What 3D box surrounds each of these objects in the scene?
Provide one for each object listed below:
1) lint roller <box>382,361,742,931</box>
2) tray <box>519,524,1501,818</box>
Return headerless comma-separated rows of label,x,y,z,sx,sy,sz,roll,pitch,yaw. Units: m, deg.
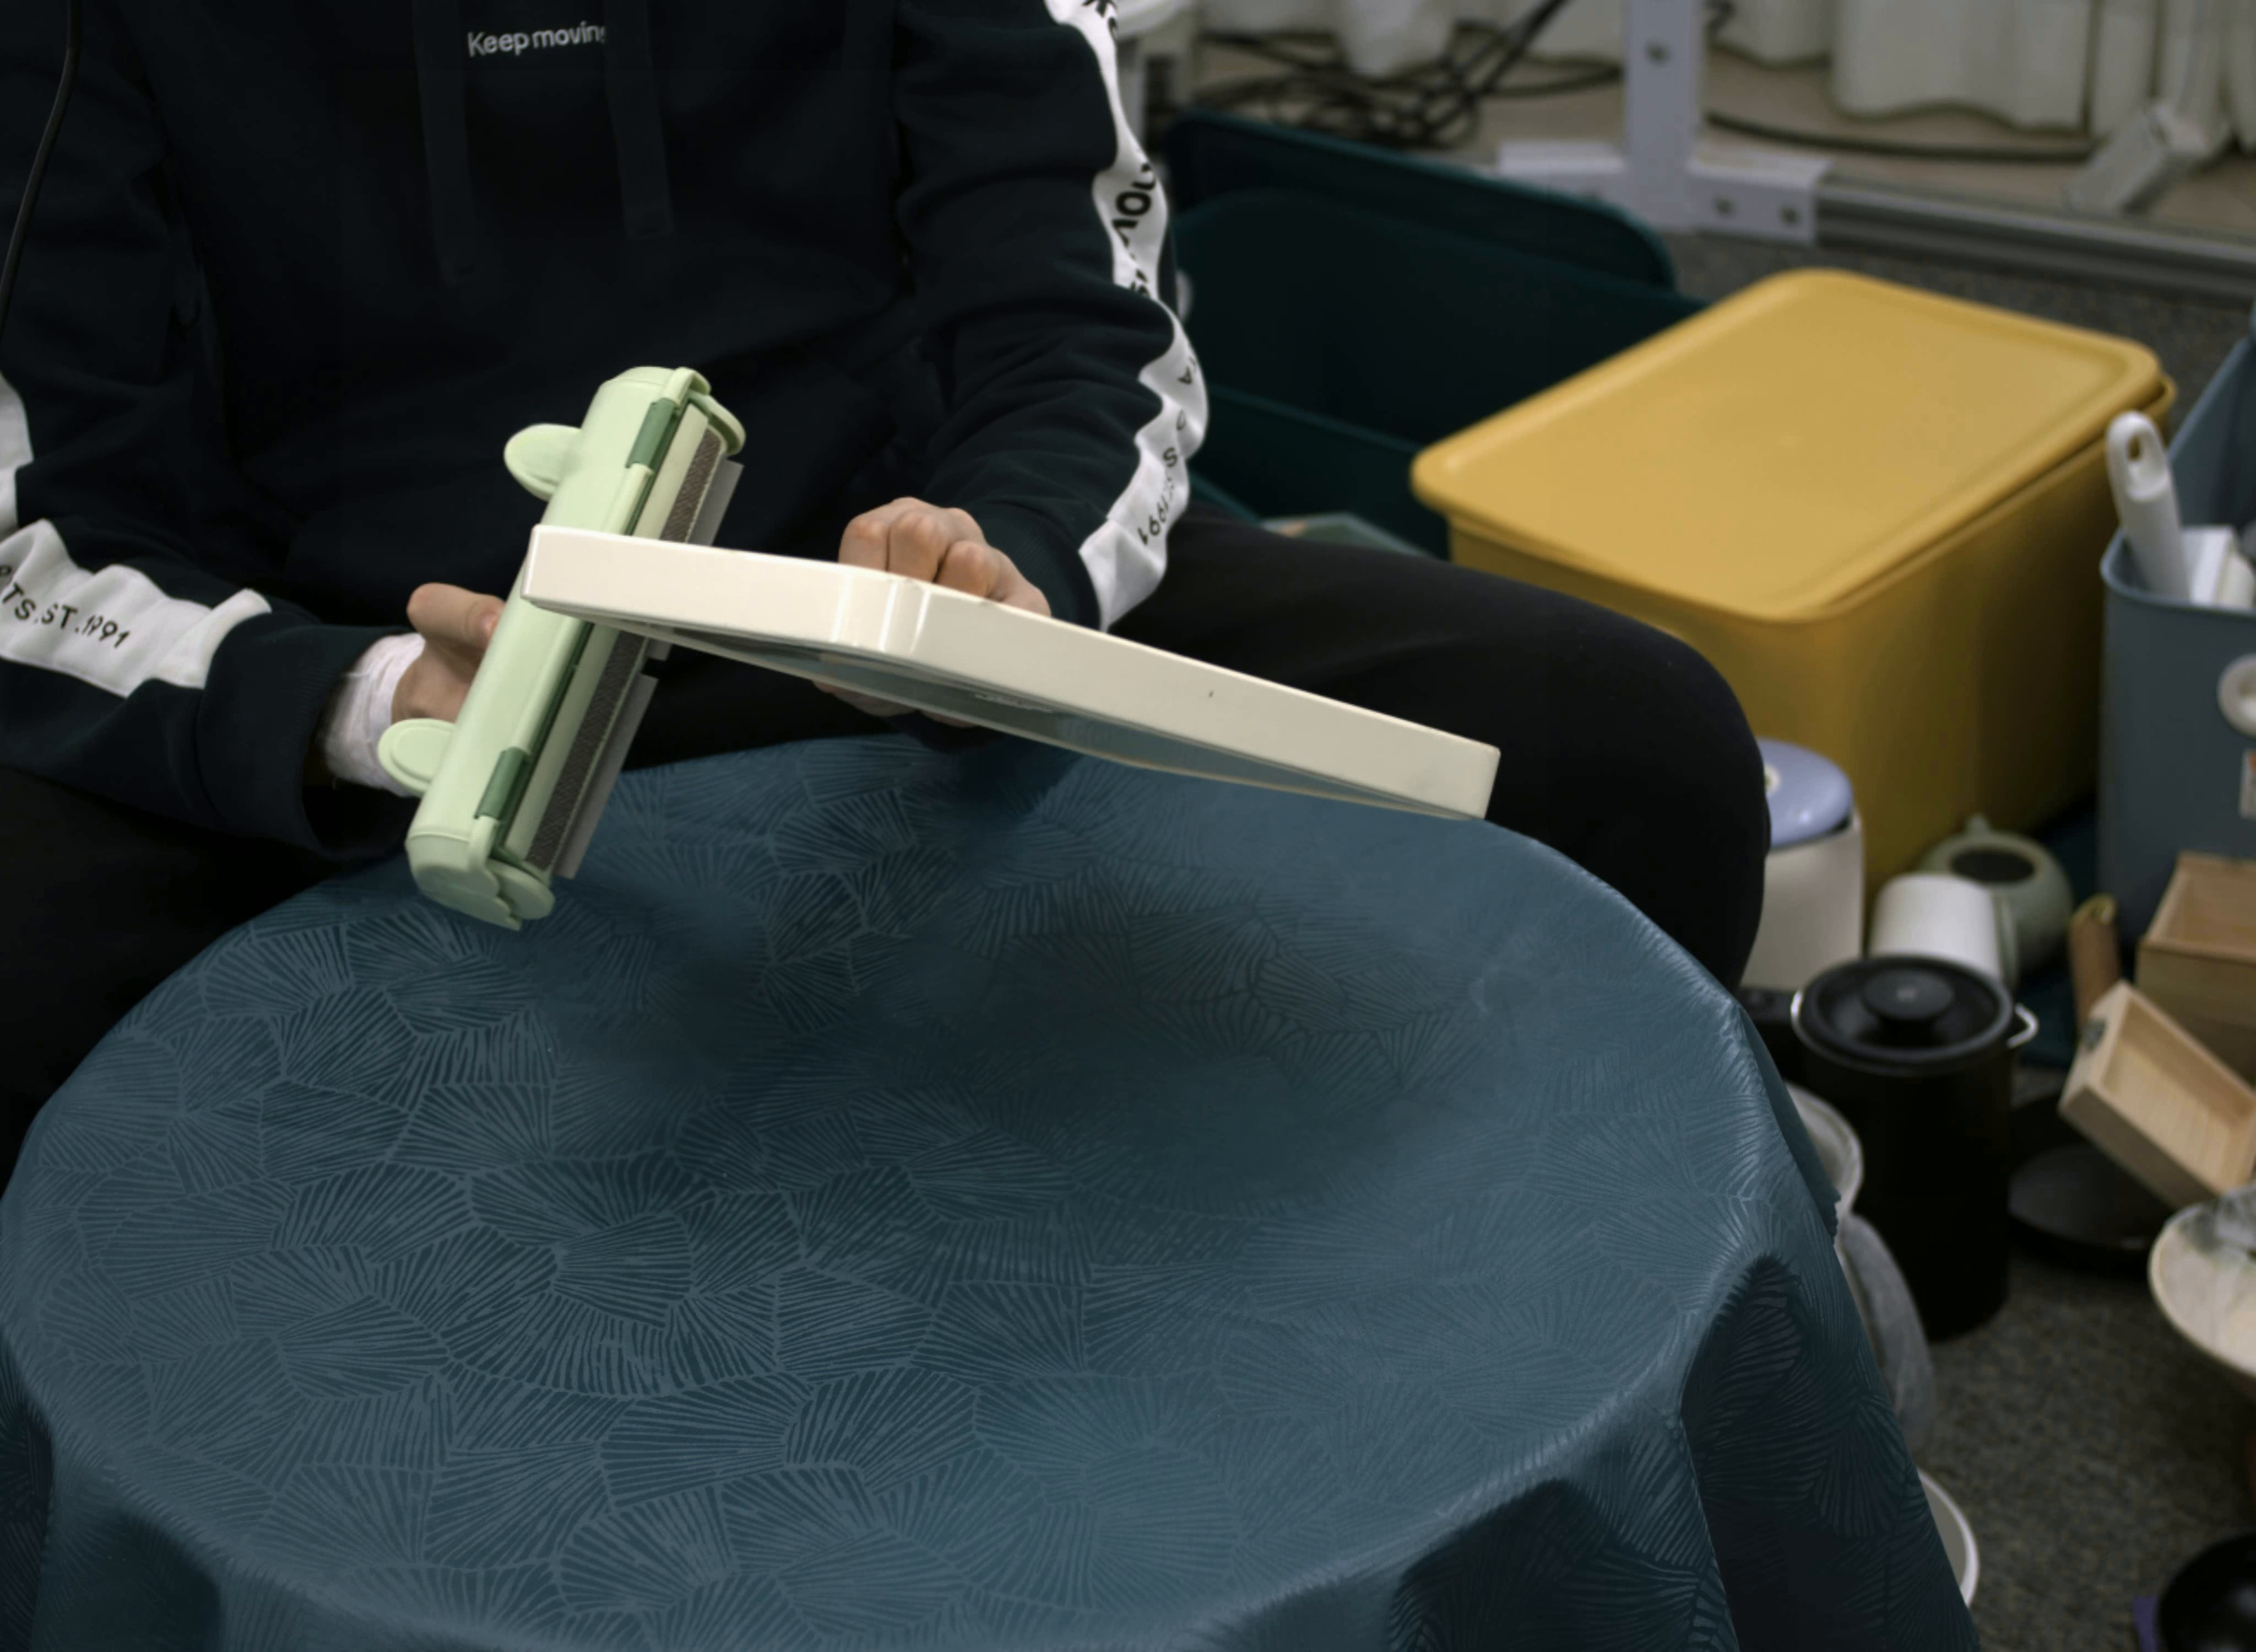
lint roller,-0.213,-0.054,1.952,0.082,0.202,0.181,27,-22,-16
tray,-0.036,-0.049,1.874,0.300,0.027,0.190,15,-5,-44
